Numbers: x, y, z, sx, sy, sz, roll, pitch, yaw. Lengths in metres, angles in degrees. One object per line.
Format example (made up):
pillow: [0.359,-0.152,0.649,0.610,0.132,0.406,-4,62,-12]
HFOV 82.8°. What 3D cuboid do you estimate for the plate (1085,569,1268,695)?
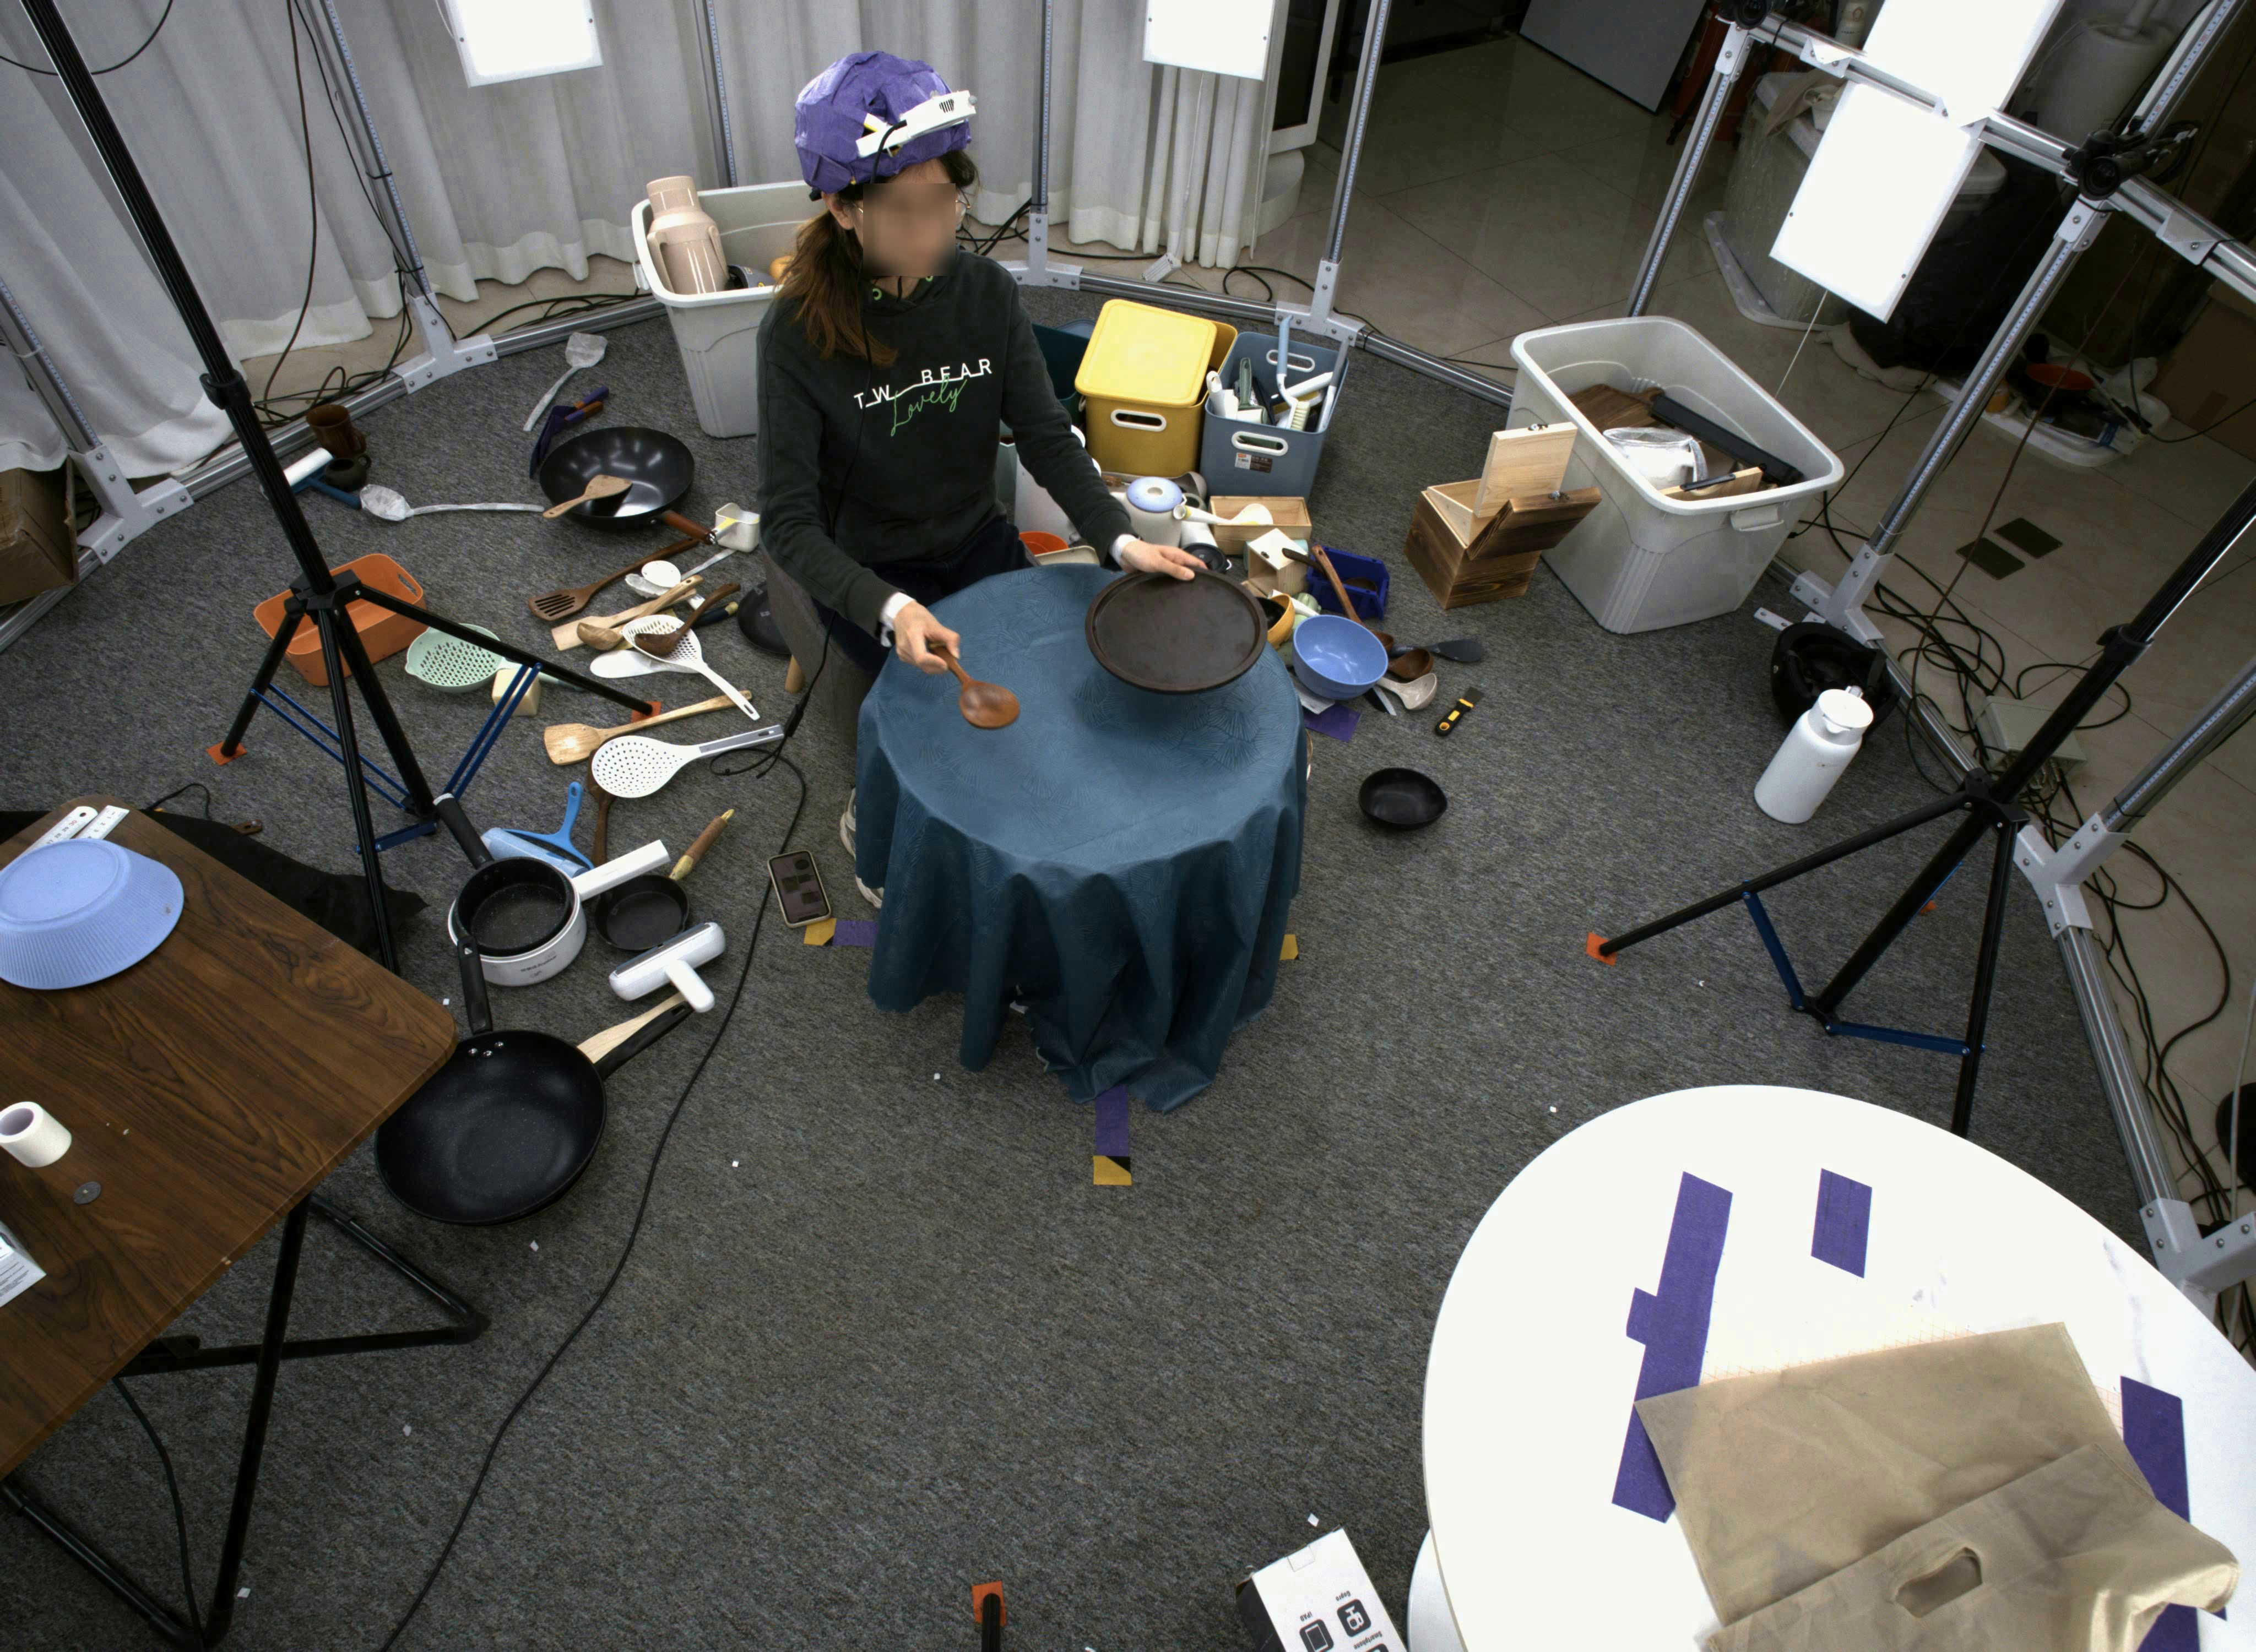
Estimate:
plate: [0.068,-0.273,1.797,0.254,0.028,0.261,0,50,0]

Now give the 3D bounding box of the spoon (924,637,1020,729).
spoon: [-0.212,-0.190,1.691,0.076,0.017,0.220,-24,49,-22]
